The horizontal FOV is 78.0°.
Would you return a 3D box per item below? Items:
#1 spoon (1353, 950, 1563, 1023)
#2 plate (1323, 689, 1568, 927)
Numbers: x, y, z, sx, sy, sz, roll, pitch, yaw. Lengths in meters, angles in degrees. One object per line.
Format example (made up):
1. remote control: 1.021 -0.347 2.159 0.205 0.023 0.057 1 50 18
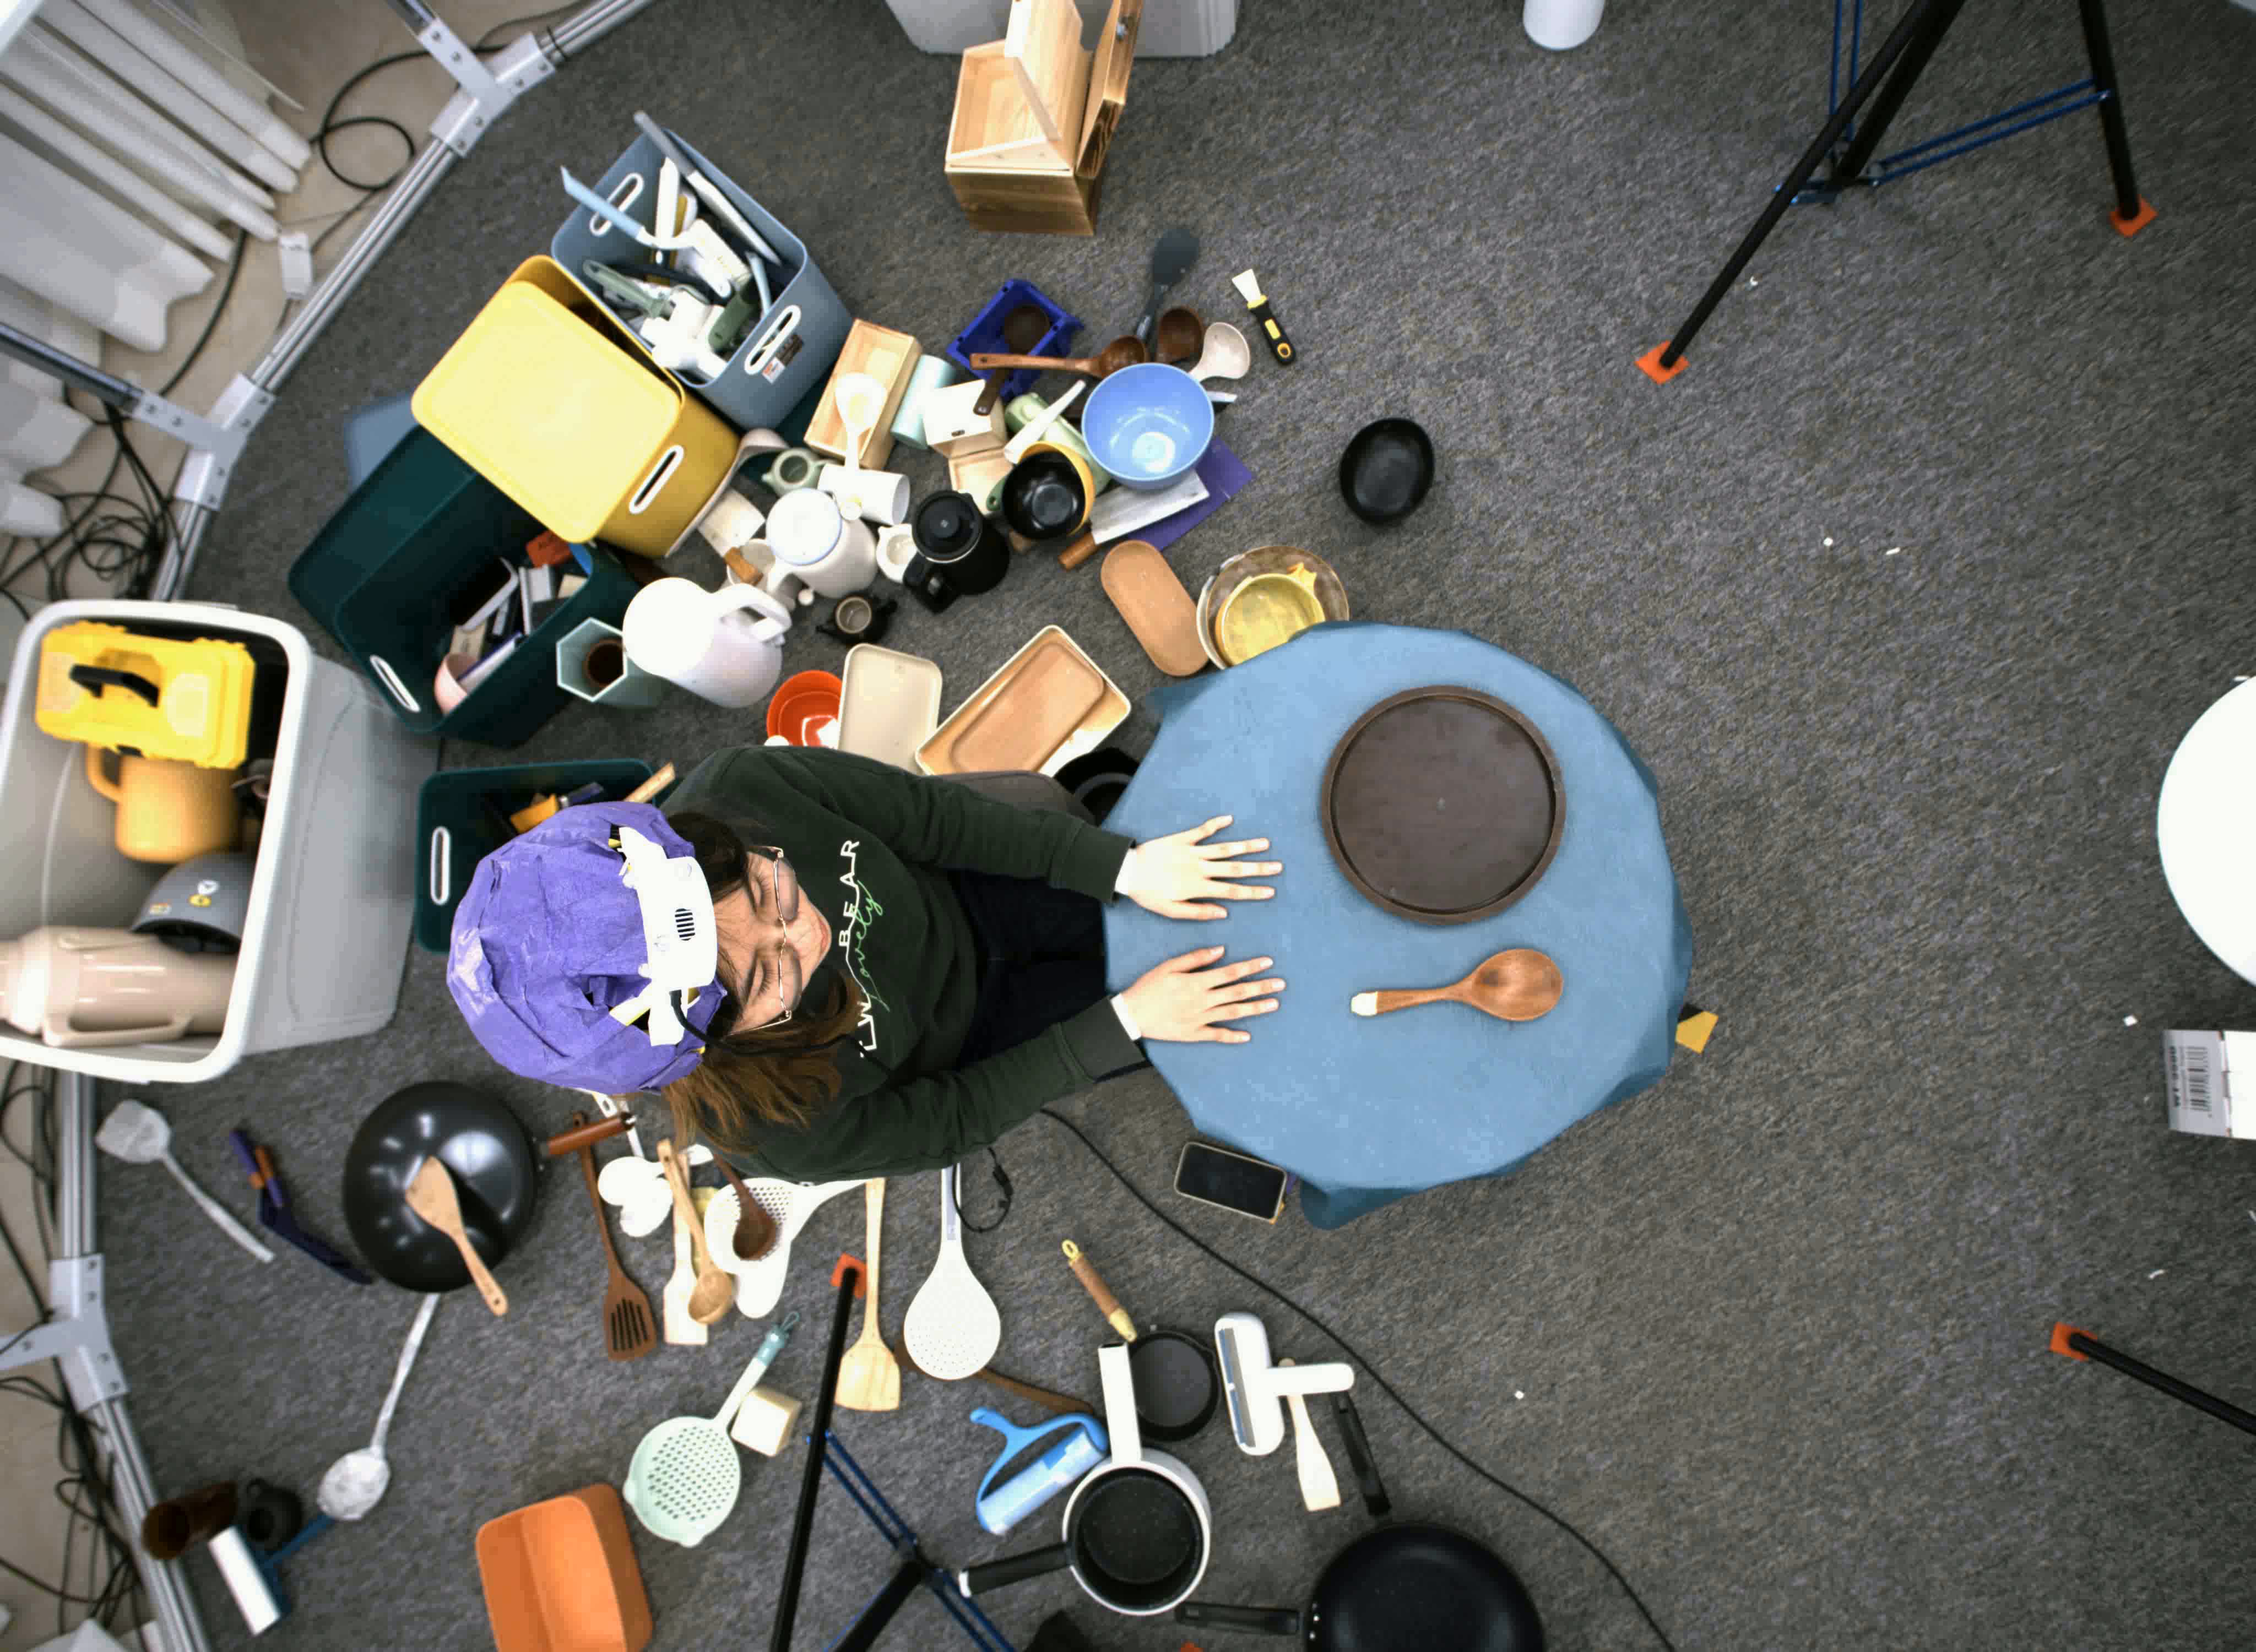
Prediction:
1. spoon: 0.342 0.173 1.436 0.217 0.017 0.075 -9 85 9
2. plate: 0.332 -0.021 1.449 0.256 0.029 0.253 -1 85 10
